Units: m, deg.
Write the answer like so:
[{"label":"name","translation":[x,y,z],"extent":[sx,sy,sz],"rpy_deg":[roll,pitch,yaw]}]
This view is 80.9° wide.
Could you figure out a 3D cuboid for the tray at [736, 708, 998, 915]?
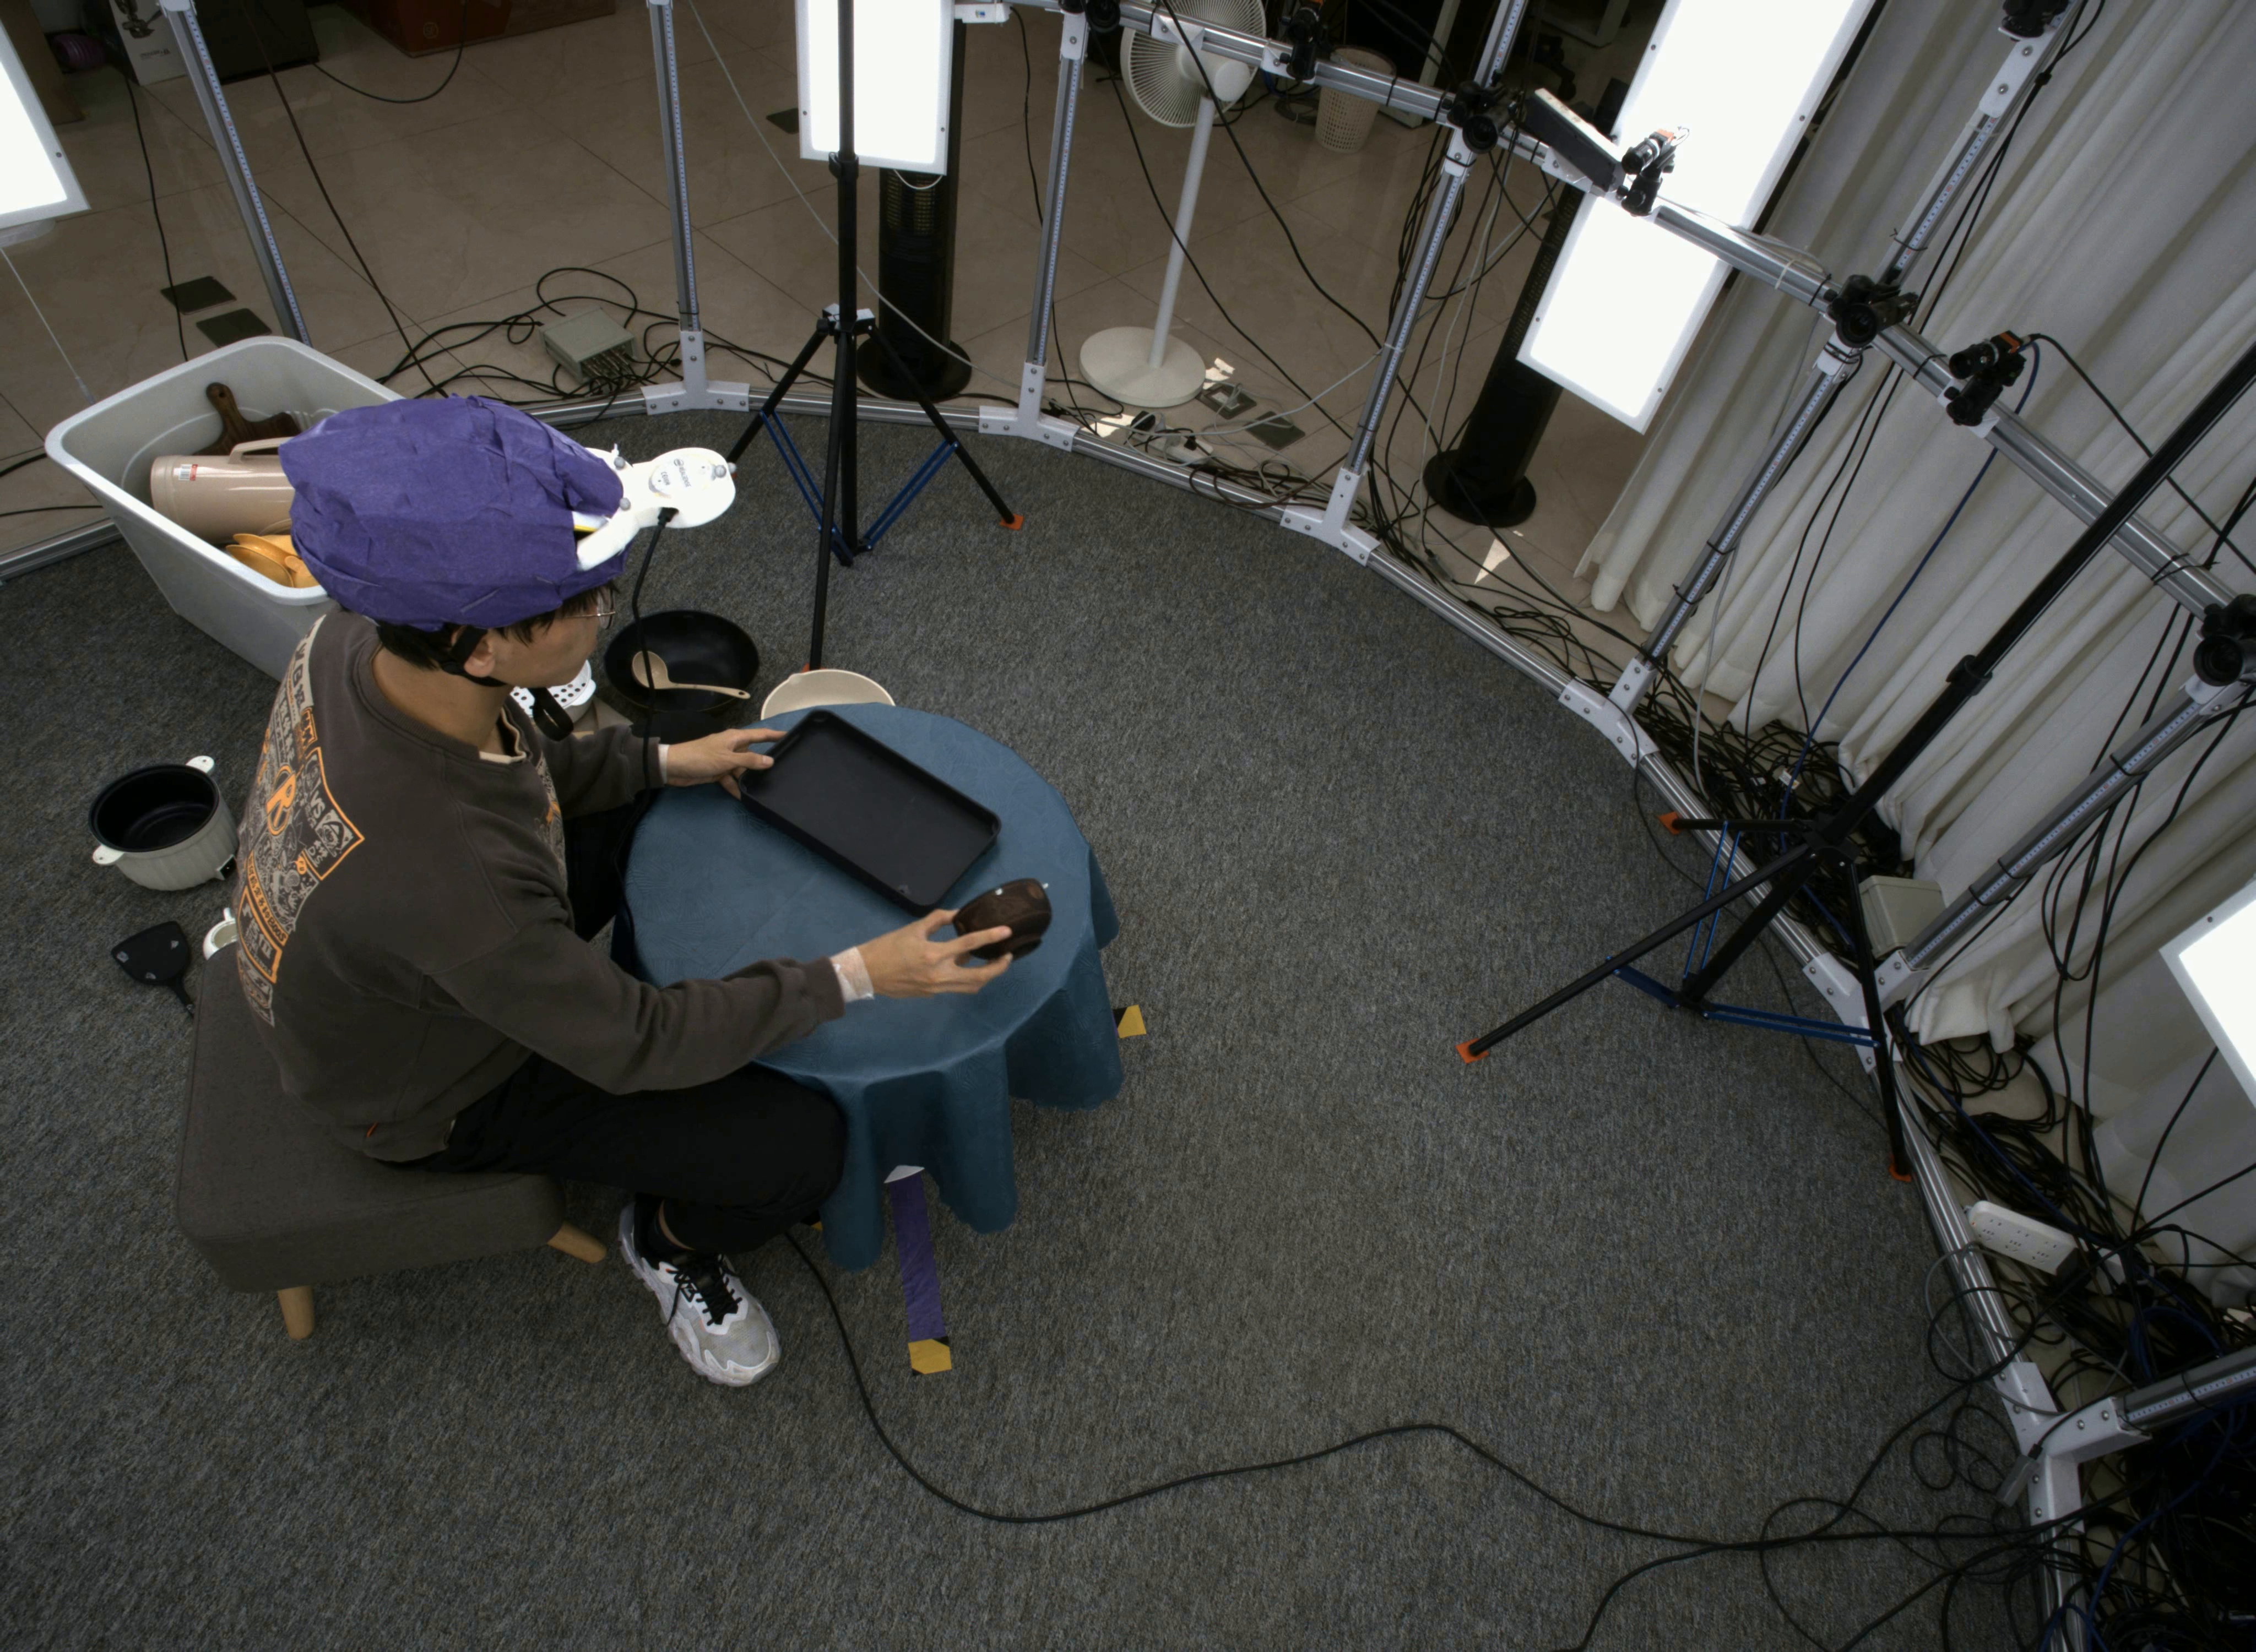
[{"label":"tray","translation":[-0.348,-0.023,1.743],"extent":[0.314,0.037,0.183],"rpy_deg":[31,54,5]}]

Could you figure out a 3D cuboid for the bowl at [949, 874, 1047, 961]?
[{"label":"bowl","translation":[-0.149,0.116,1.564],"extent":[0.118,0.119,0.069],"rpy_deg":[-22,71,-26]}]
